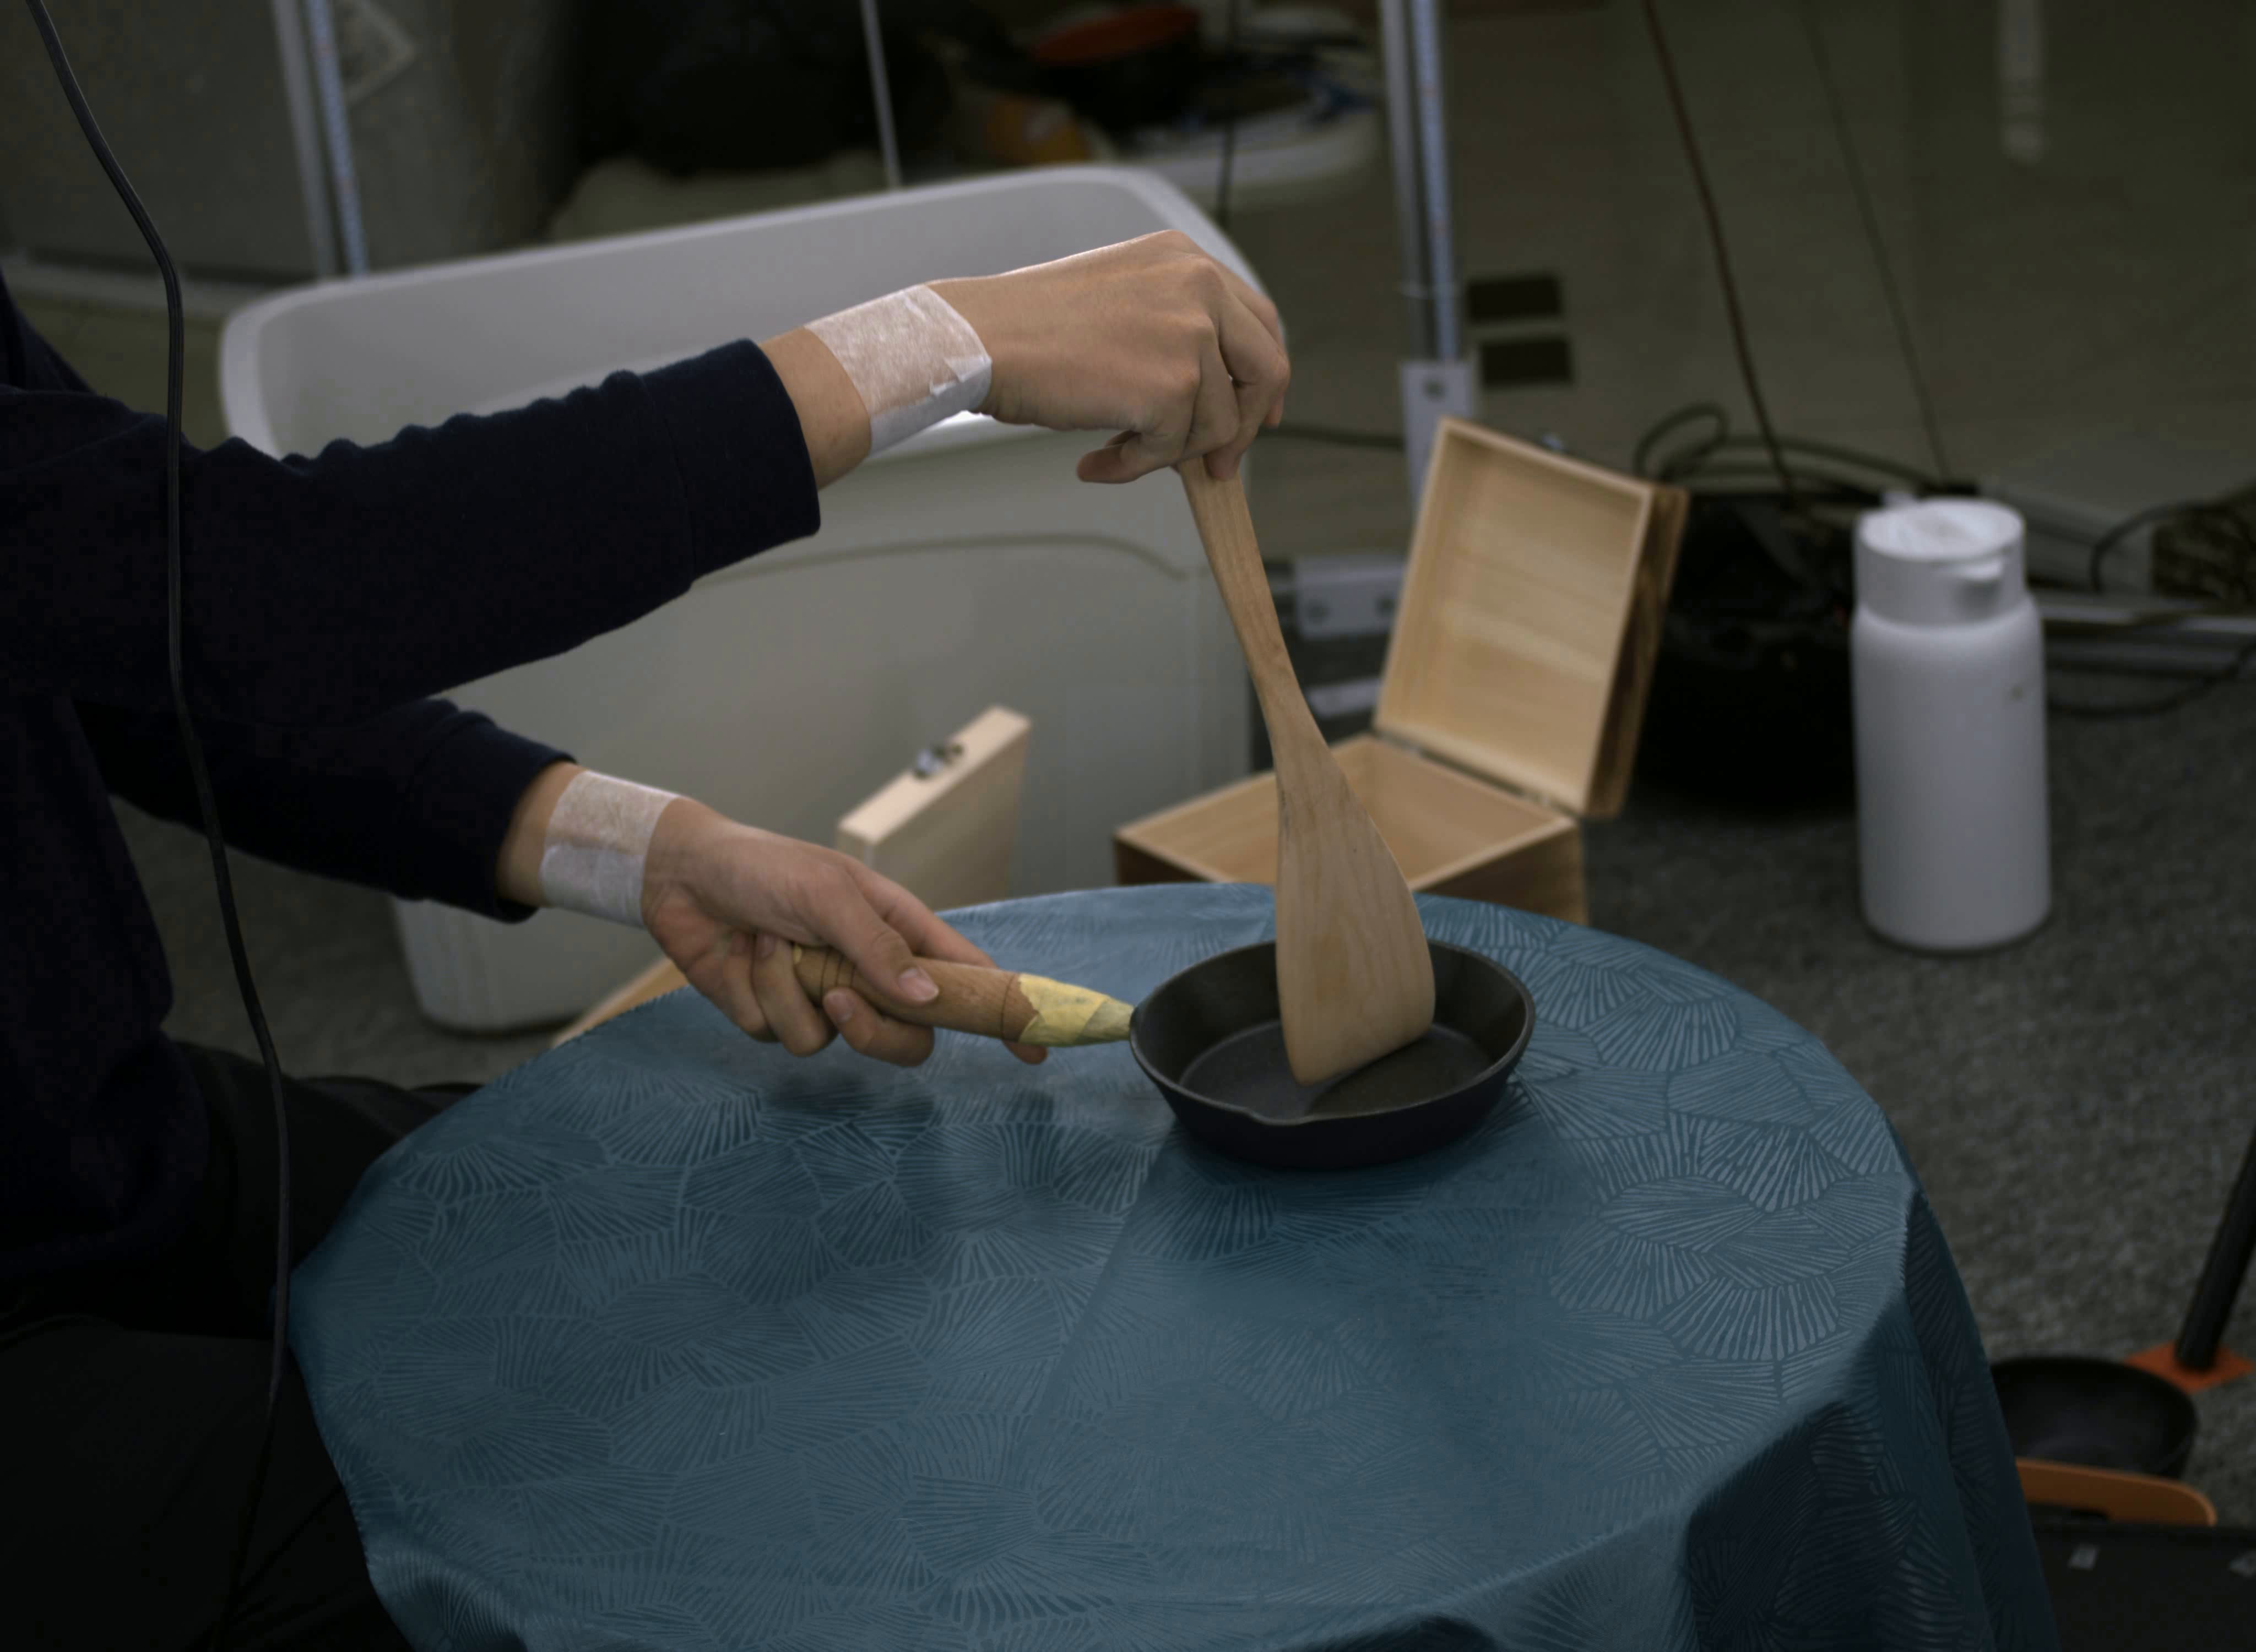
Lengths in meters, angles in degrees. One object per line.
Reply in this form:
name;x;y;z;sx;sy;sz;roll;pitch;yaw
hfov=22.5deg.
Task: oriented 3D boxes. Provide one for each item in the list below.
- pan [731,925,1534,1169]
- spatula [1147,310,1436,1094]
pan;-0.001;0.076;2.212;0.323;0.050;0.166;5;27;17
spatula;0.054;-0.044;2.138;0.079;0.332;0.016;-33;29;-30
